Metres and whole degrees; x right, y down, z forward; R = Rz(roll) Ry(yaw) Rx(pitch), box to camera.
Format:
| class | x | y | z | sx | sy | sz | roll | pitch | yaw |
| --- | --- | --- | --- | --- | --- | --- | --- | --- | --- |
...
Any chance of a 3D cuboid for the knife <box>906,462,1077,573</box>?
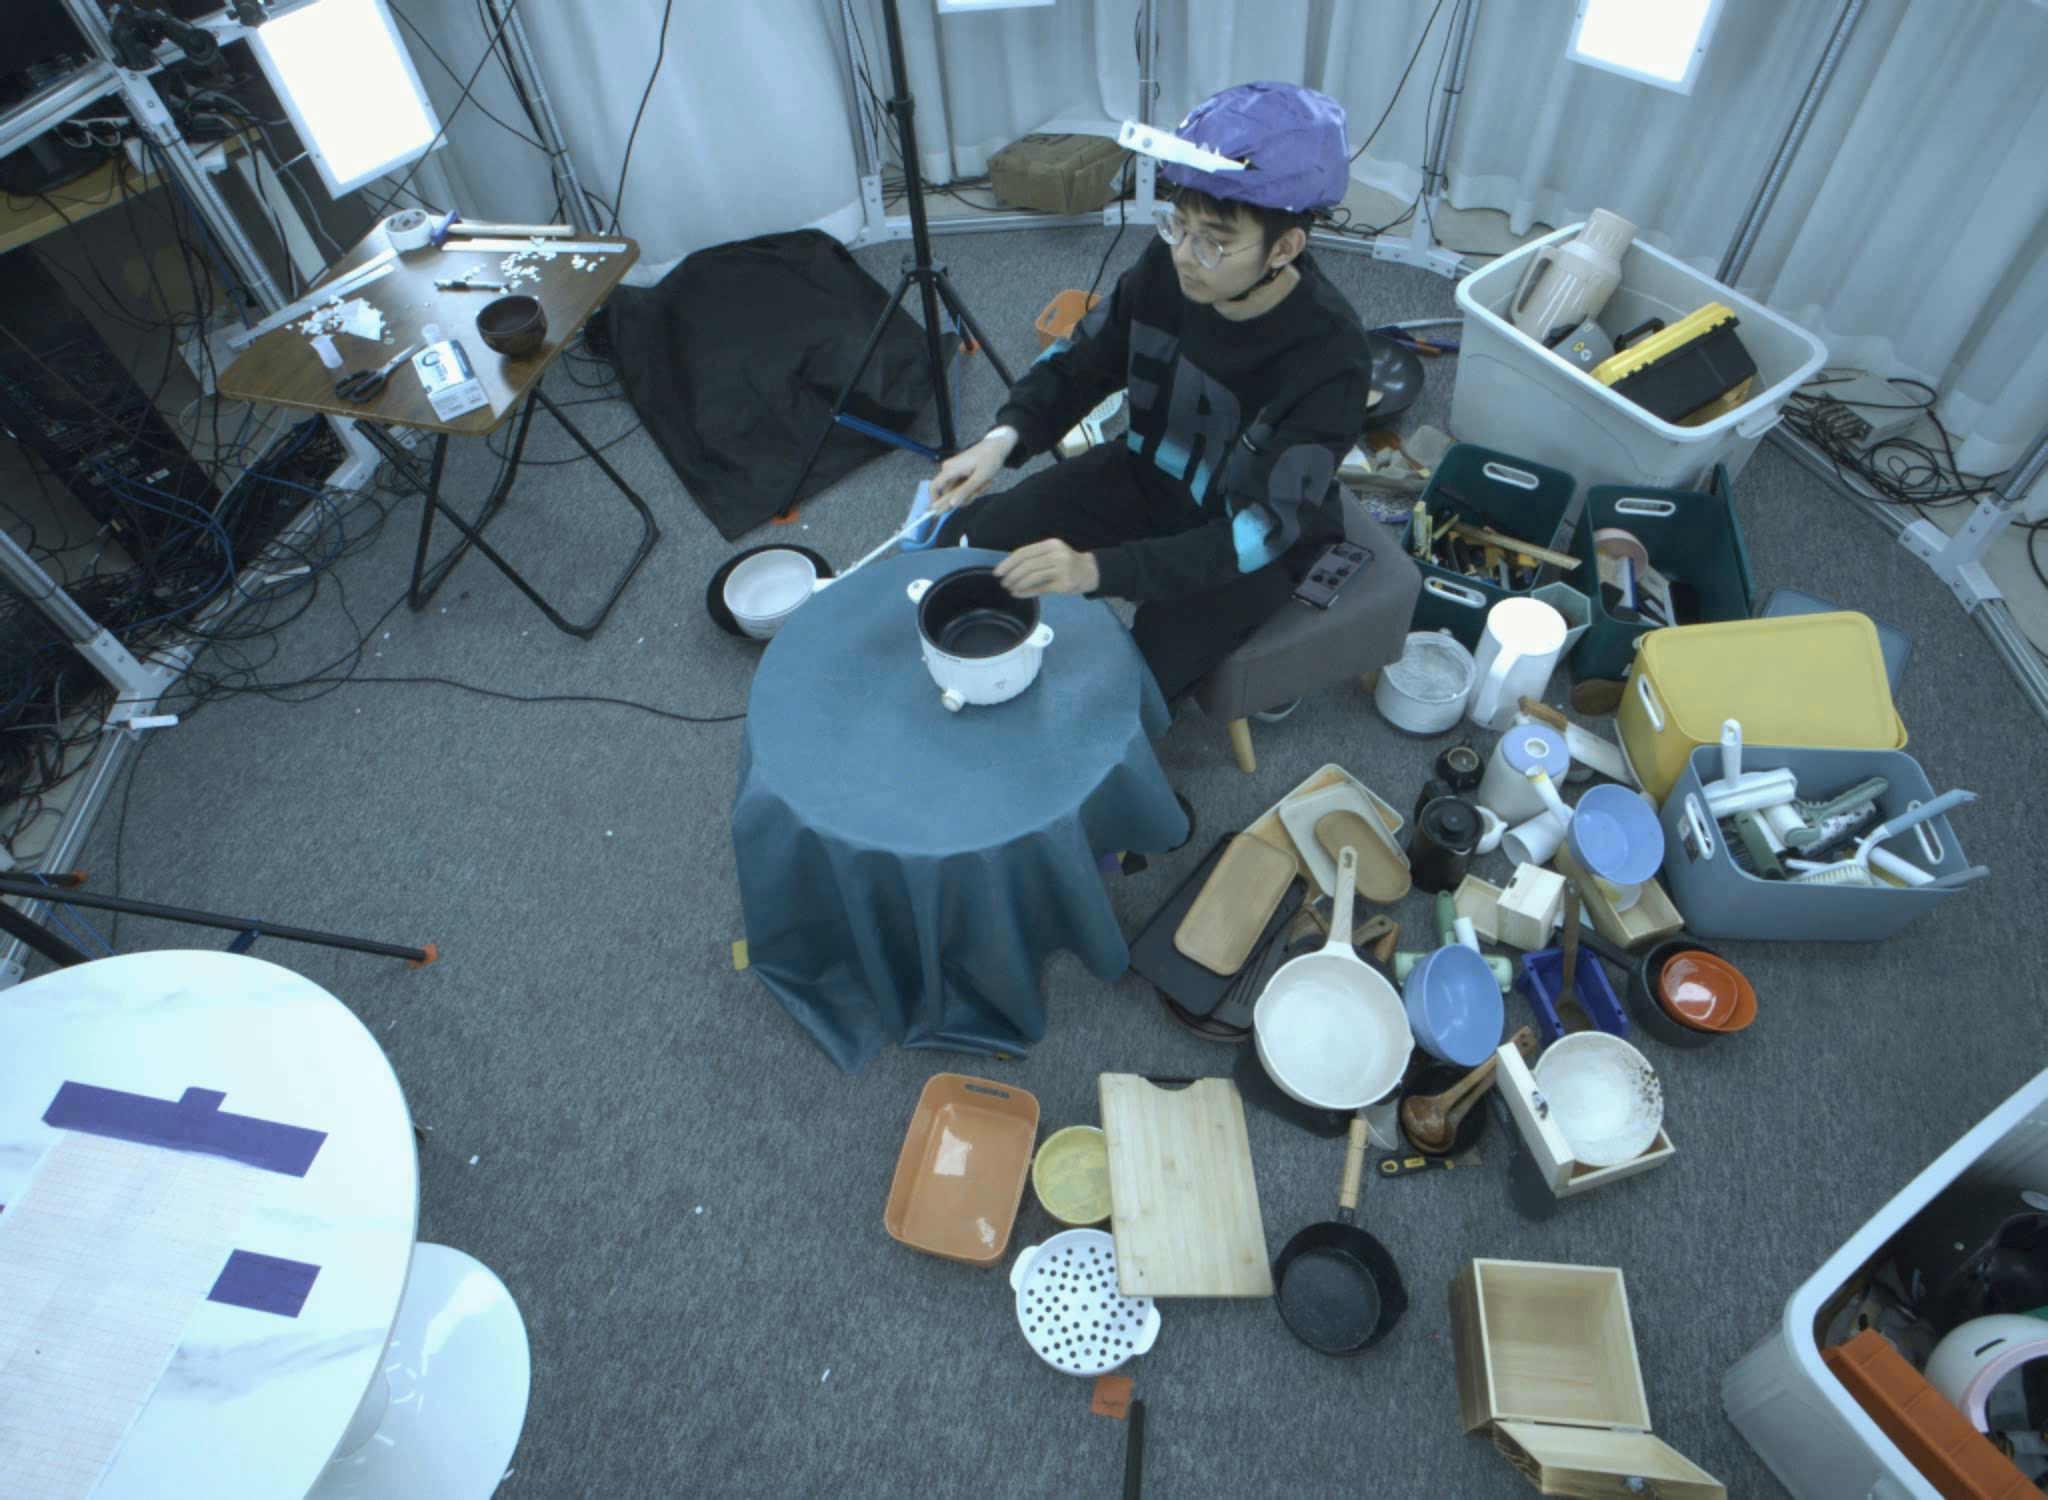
| class | x | y | z | sx | sy | sz | roll | pitch | yaw |
| --- | --- | --- | --- | --- | --- | --- | --- | --- | --- |
| knife | -0.043 | -0.352 | 1.842 | 0.318 | 0.112 | 0.022 | -37 | 103 | -22 |

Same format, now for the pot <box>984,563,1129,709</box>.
| class | x | y | z | sx | sy | sz | roll | pitch | yaw |
| --- | --- | --- | --- | --- | --- | --- | --- | --- | --- |
| pot | 0.045 | -0.160 | 1.812 | 0.237 | 0.144 | 0.191 | 26 | 57 | 21 |
